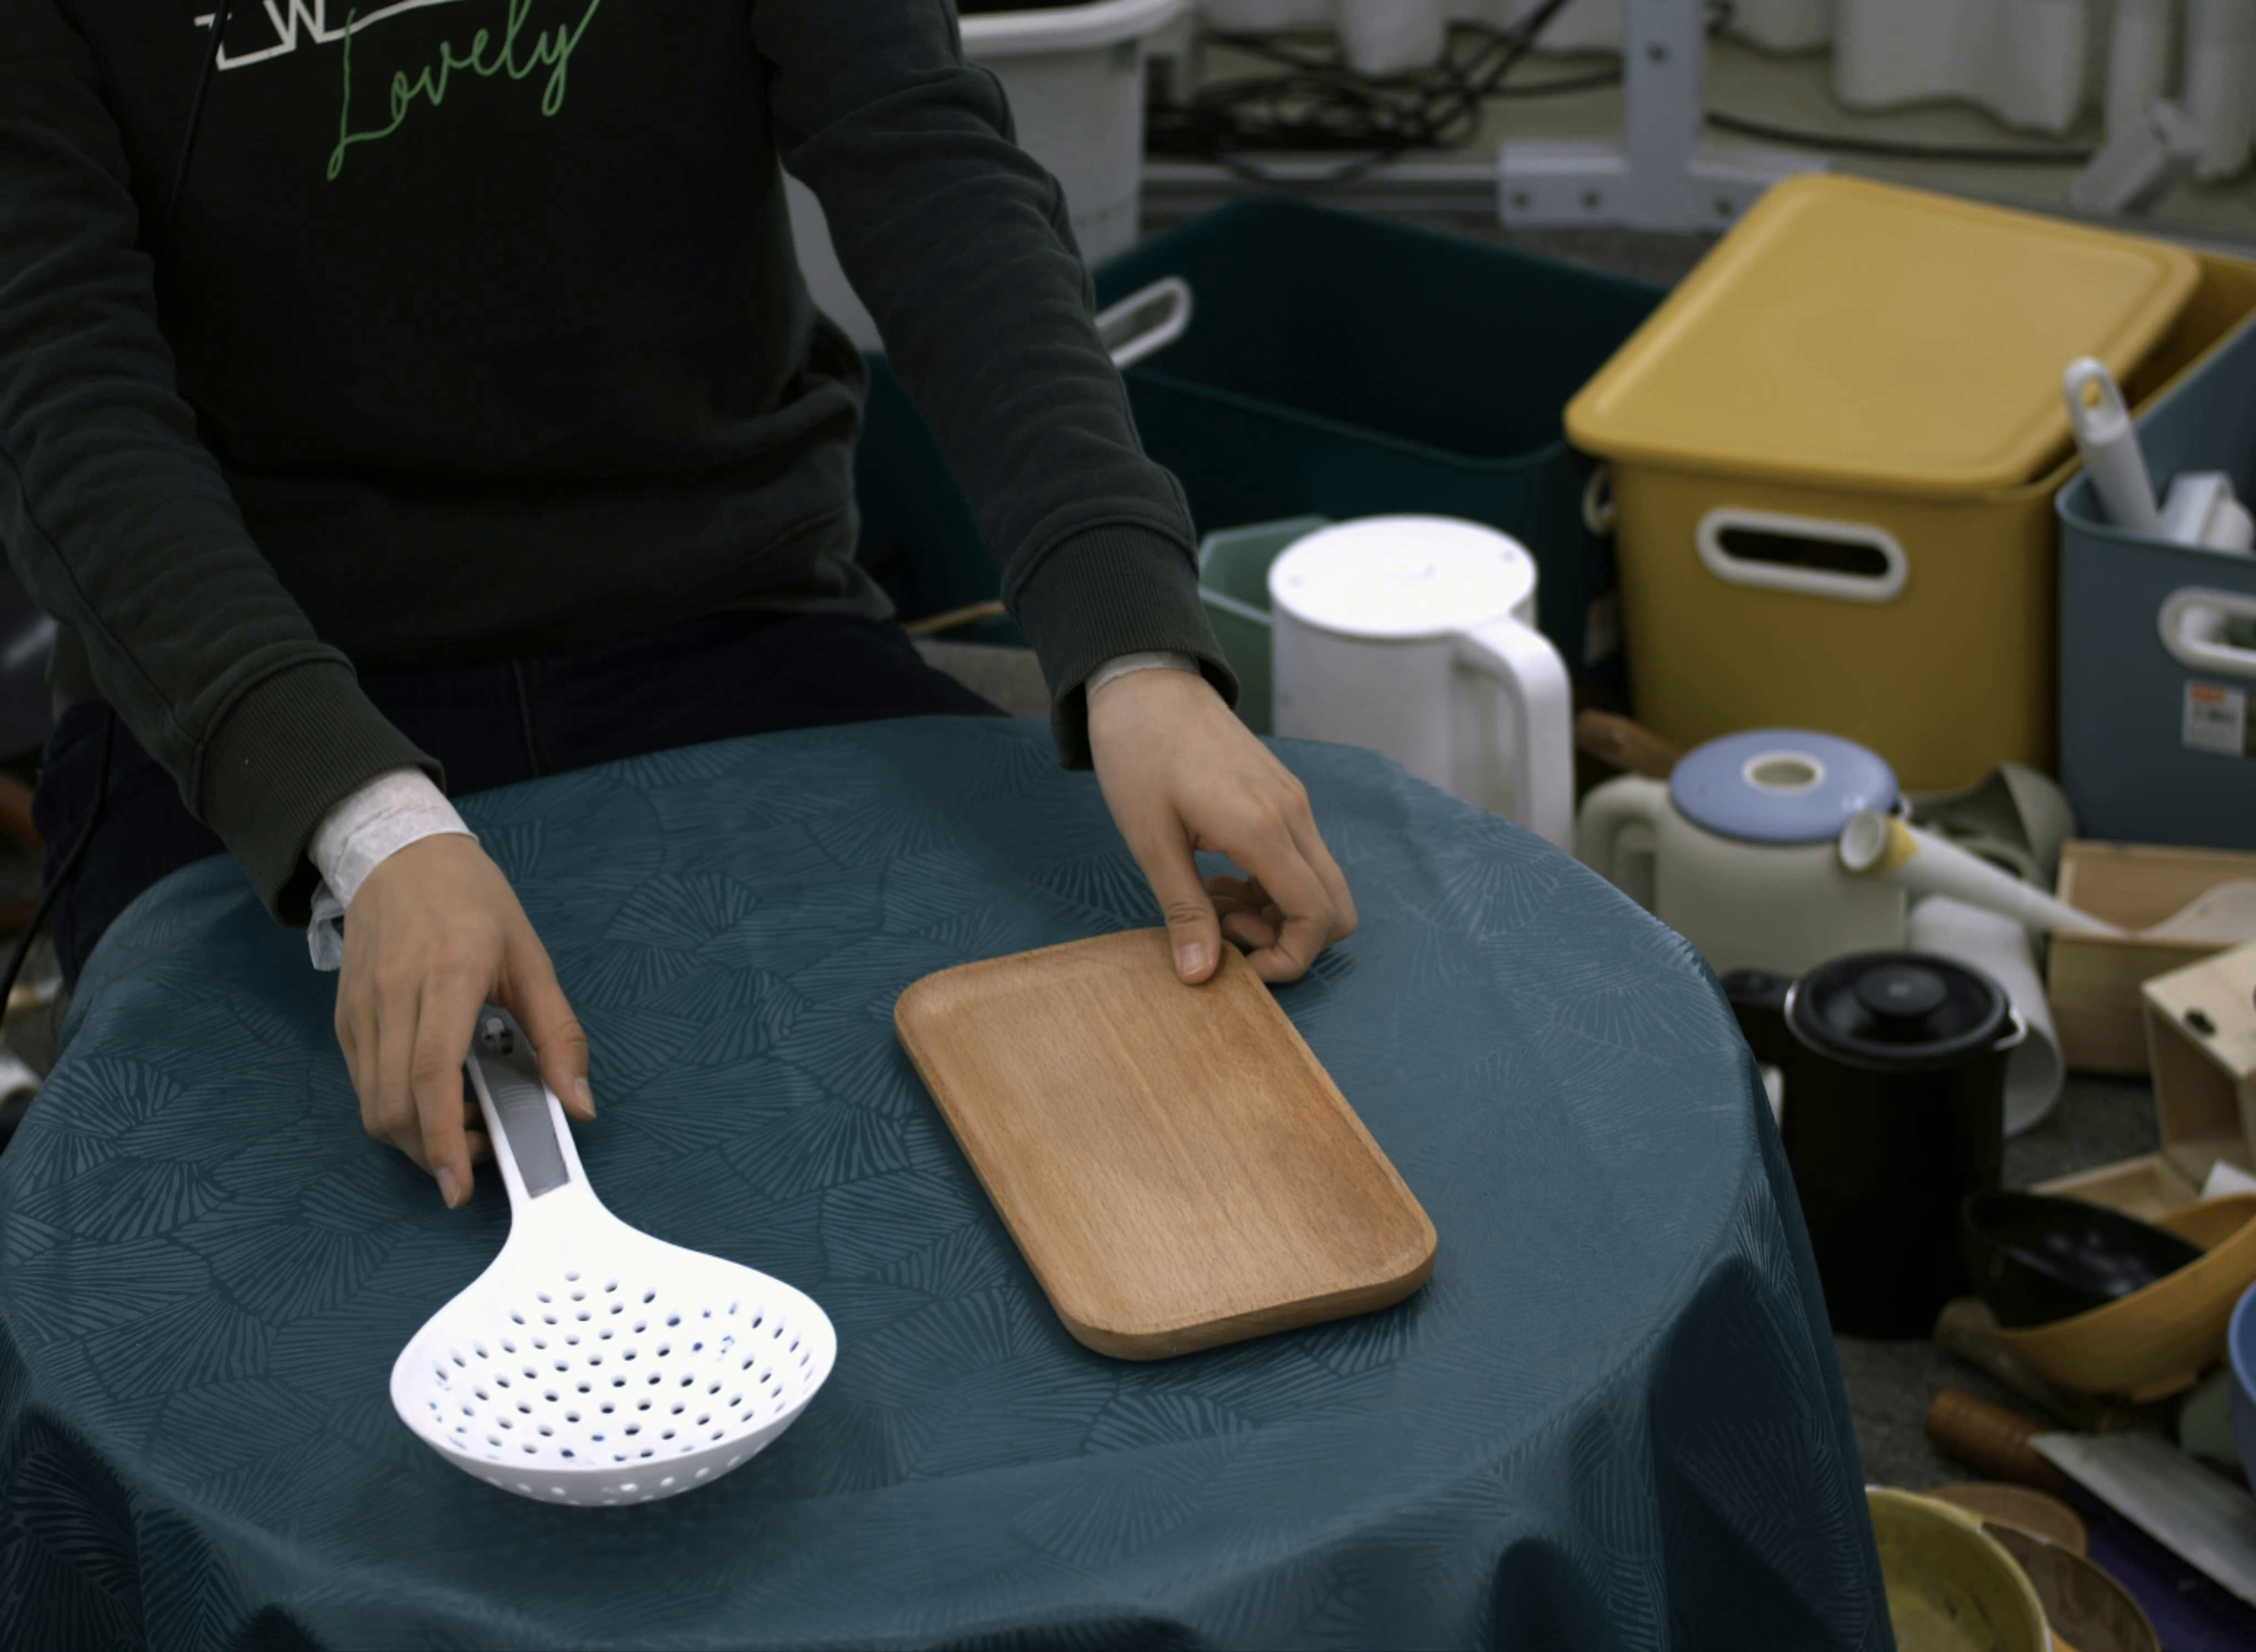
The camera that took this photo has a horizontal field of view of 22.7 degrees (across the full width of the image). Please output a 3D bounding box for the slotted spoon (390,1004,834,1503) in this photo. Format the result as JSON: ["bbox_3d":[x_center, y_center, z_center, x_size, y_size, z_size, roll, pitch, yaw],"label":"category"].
[{"bbox_3d":[-0.182,0.131,1.812,0.136,0.045,0.353,-7,27,-12],"label":"slotted spoon"}]

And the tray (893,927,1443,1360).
[{"bbox_3d":[0.010,0.103,1.878,0.130,0.022,0.253,-9,27,-15],"label":"tray"}]
